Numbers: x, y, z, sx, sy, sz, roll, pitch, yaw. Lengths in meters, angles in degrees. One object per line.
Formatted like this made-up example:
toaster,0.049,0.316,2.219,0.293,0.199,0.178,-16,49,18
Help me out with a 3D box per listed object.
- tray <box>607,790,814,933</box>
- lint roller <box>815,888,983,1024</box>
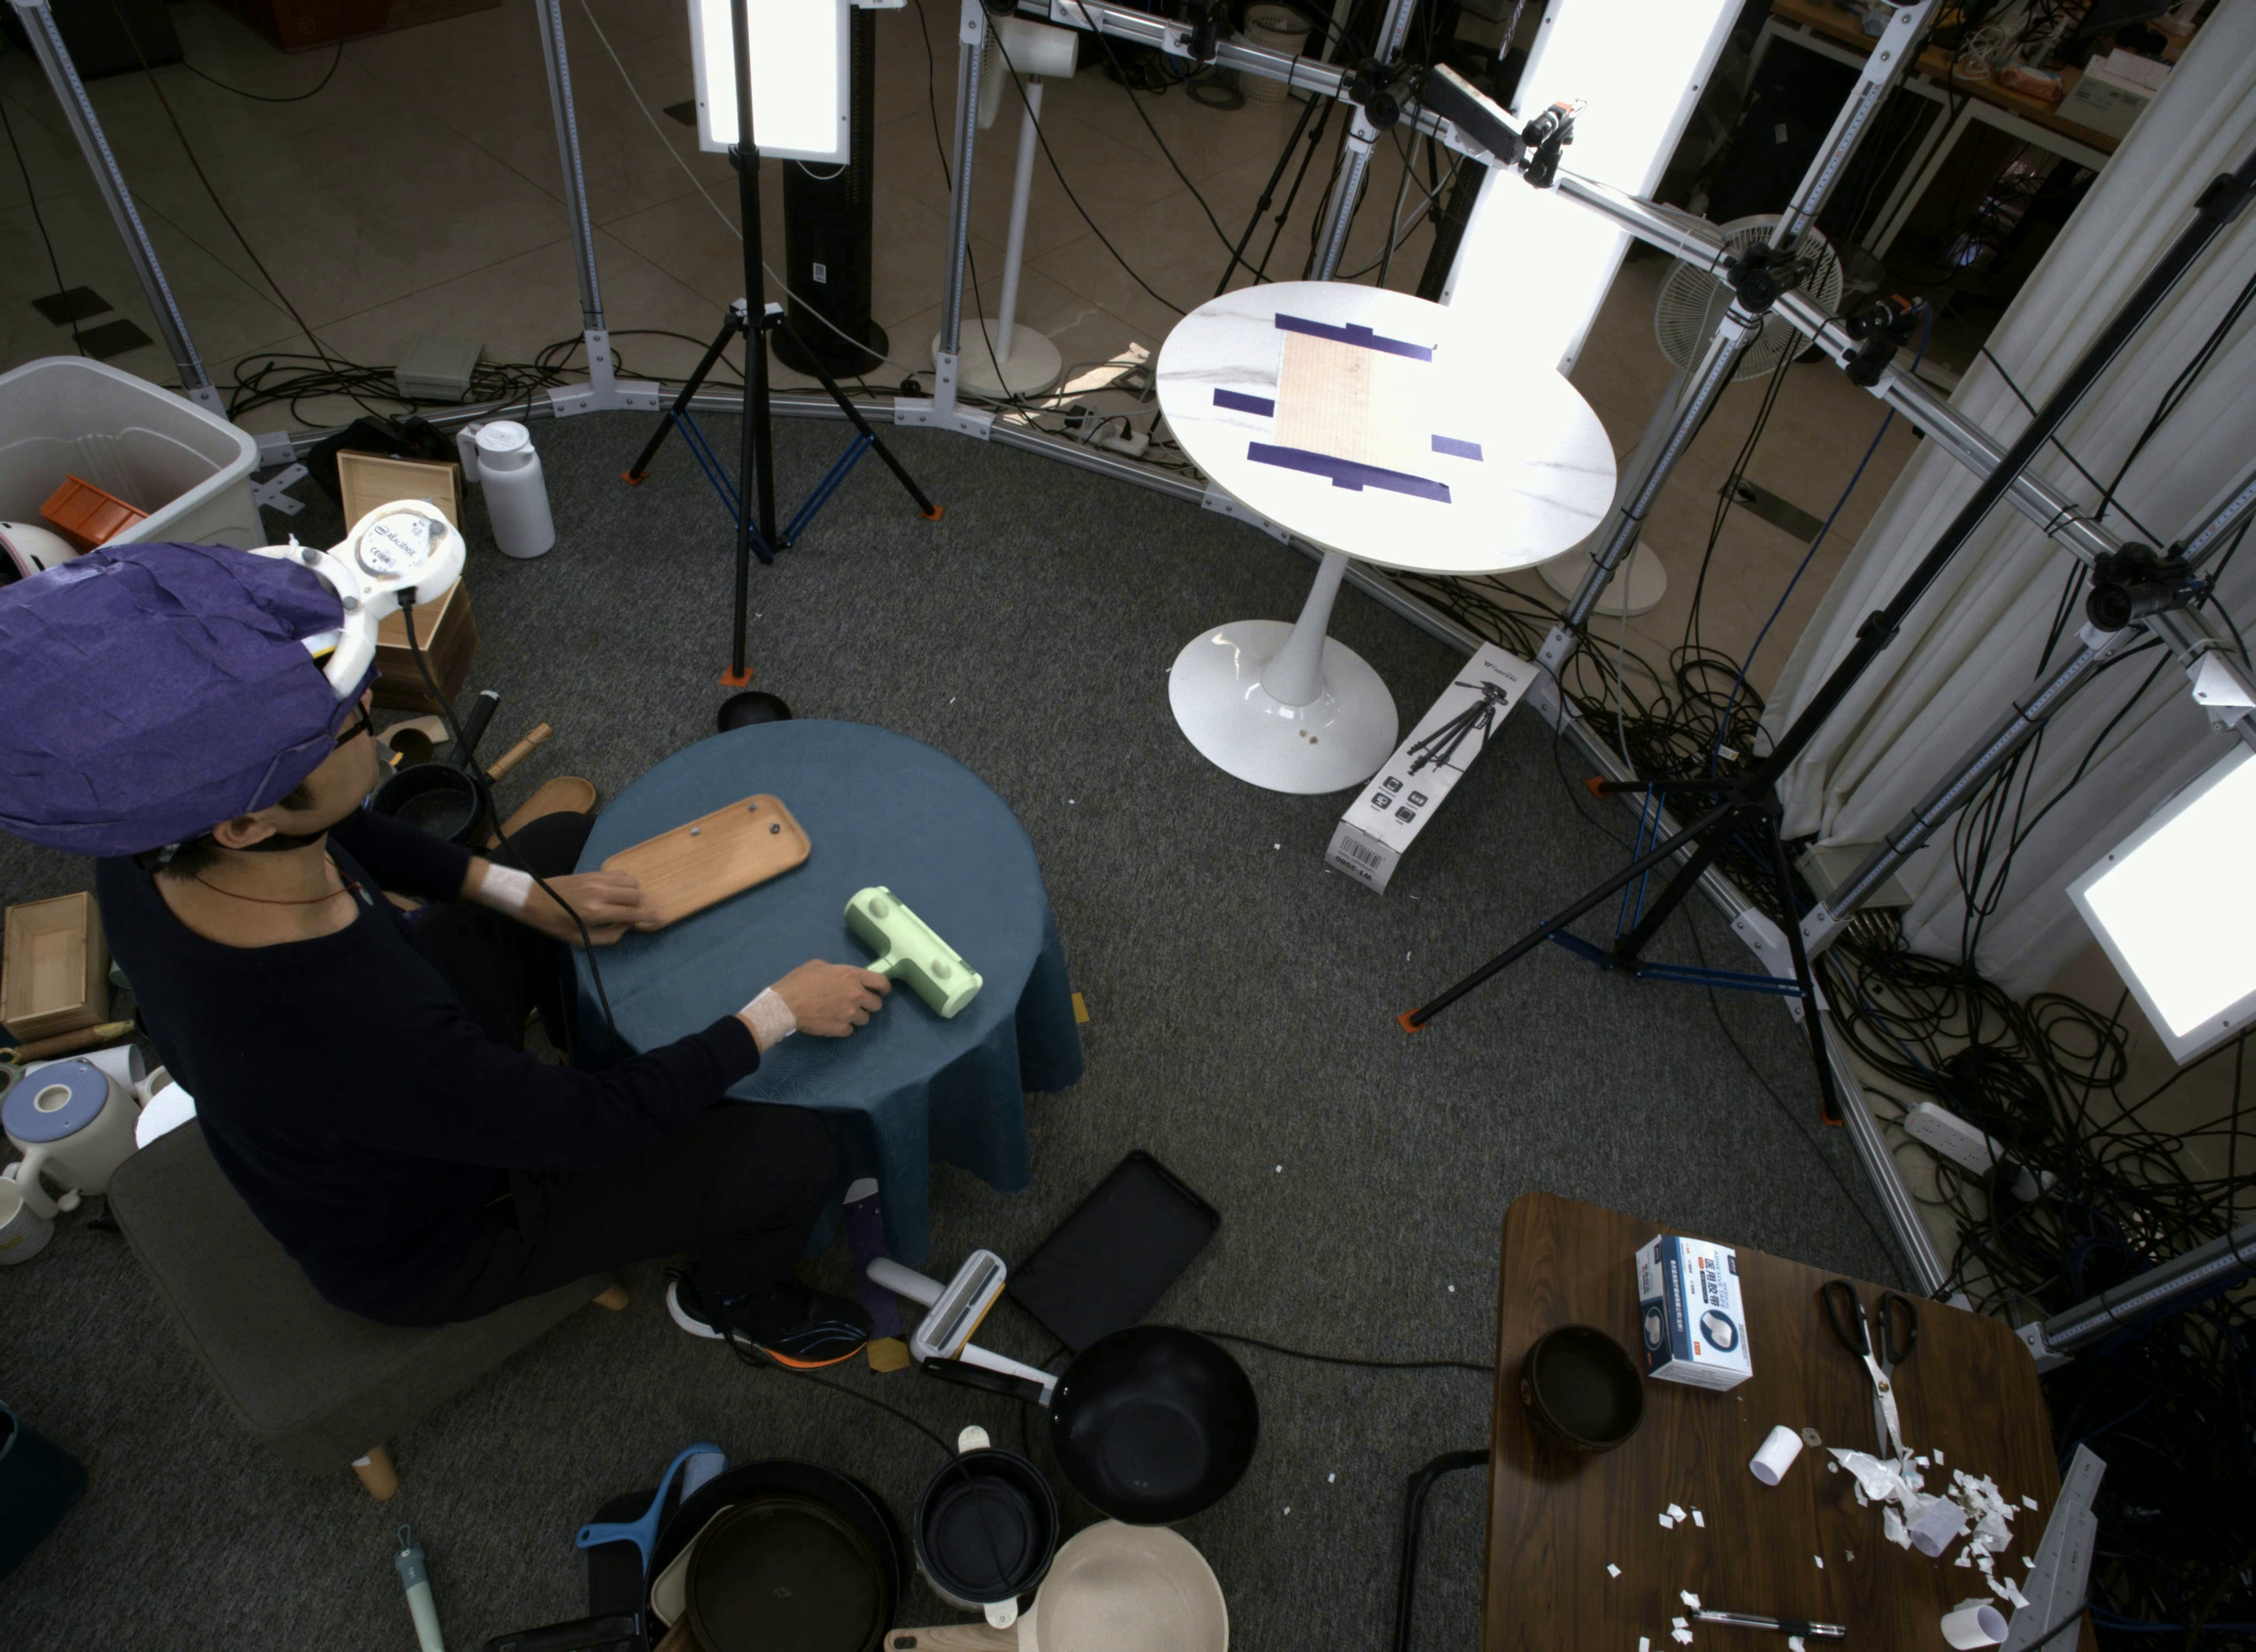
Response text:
tray,-0.531,0.041,1.641,0.252,0.023,0.127,-28,63,-31
lint roller,-0.299,0.167,1.557,0.194,0.083,0.184,39,42,17
